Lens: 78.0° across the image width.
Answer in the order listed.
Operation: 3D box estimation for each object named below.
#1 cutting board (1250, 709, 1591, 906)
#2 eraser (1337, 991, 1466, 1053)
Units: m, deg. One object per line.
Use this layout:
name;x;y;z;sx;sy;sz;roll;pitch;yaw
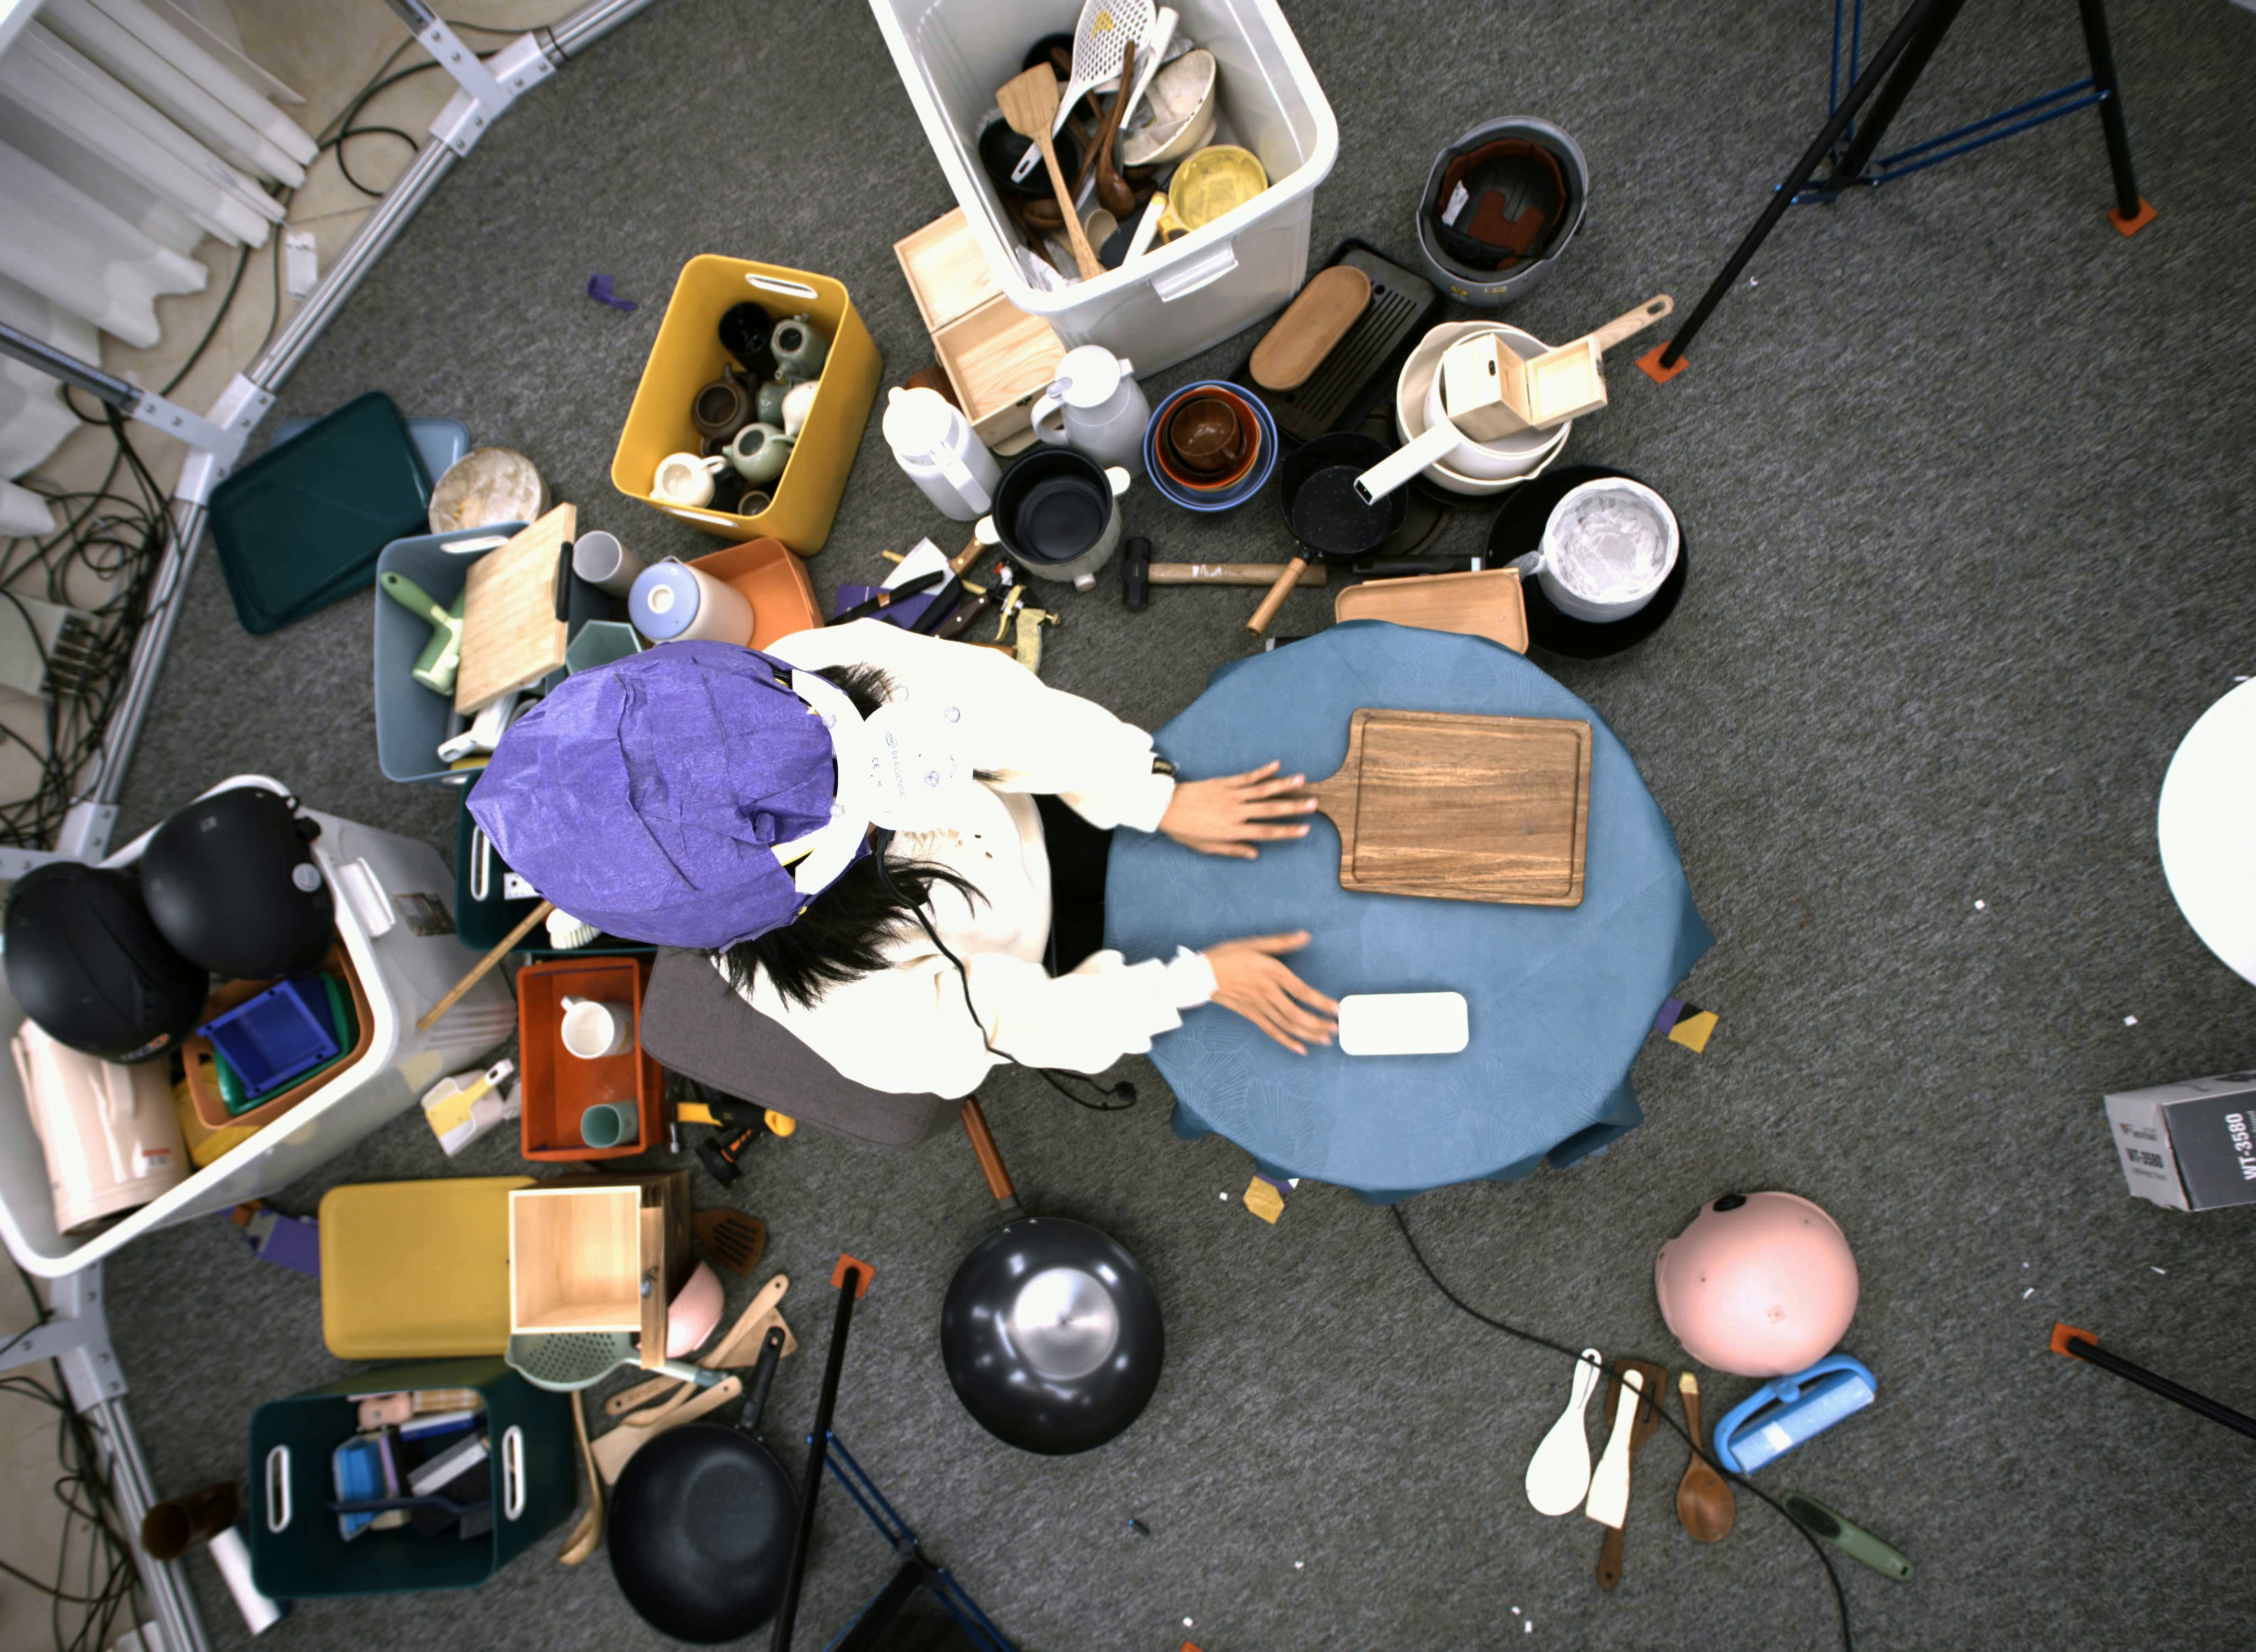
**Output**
cutting board;0.304;-0.025;1.448;0.353;0.023;0.200;3;87;11
eraser;0.283;0.201;1.435;0.132;0.034;0.063;-1;87;10
